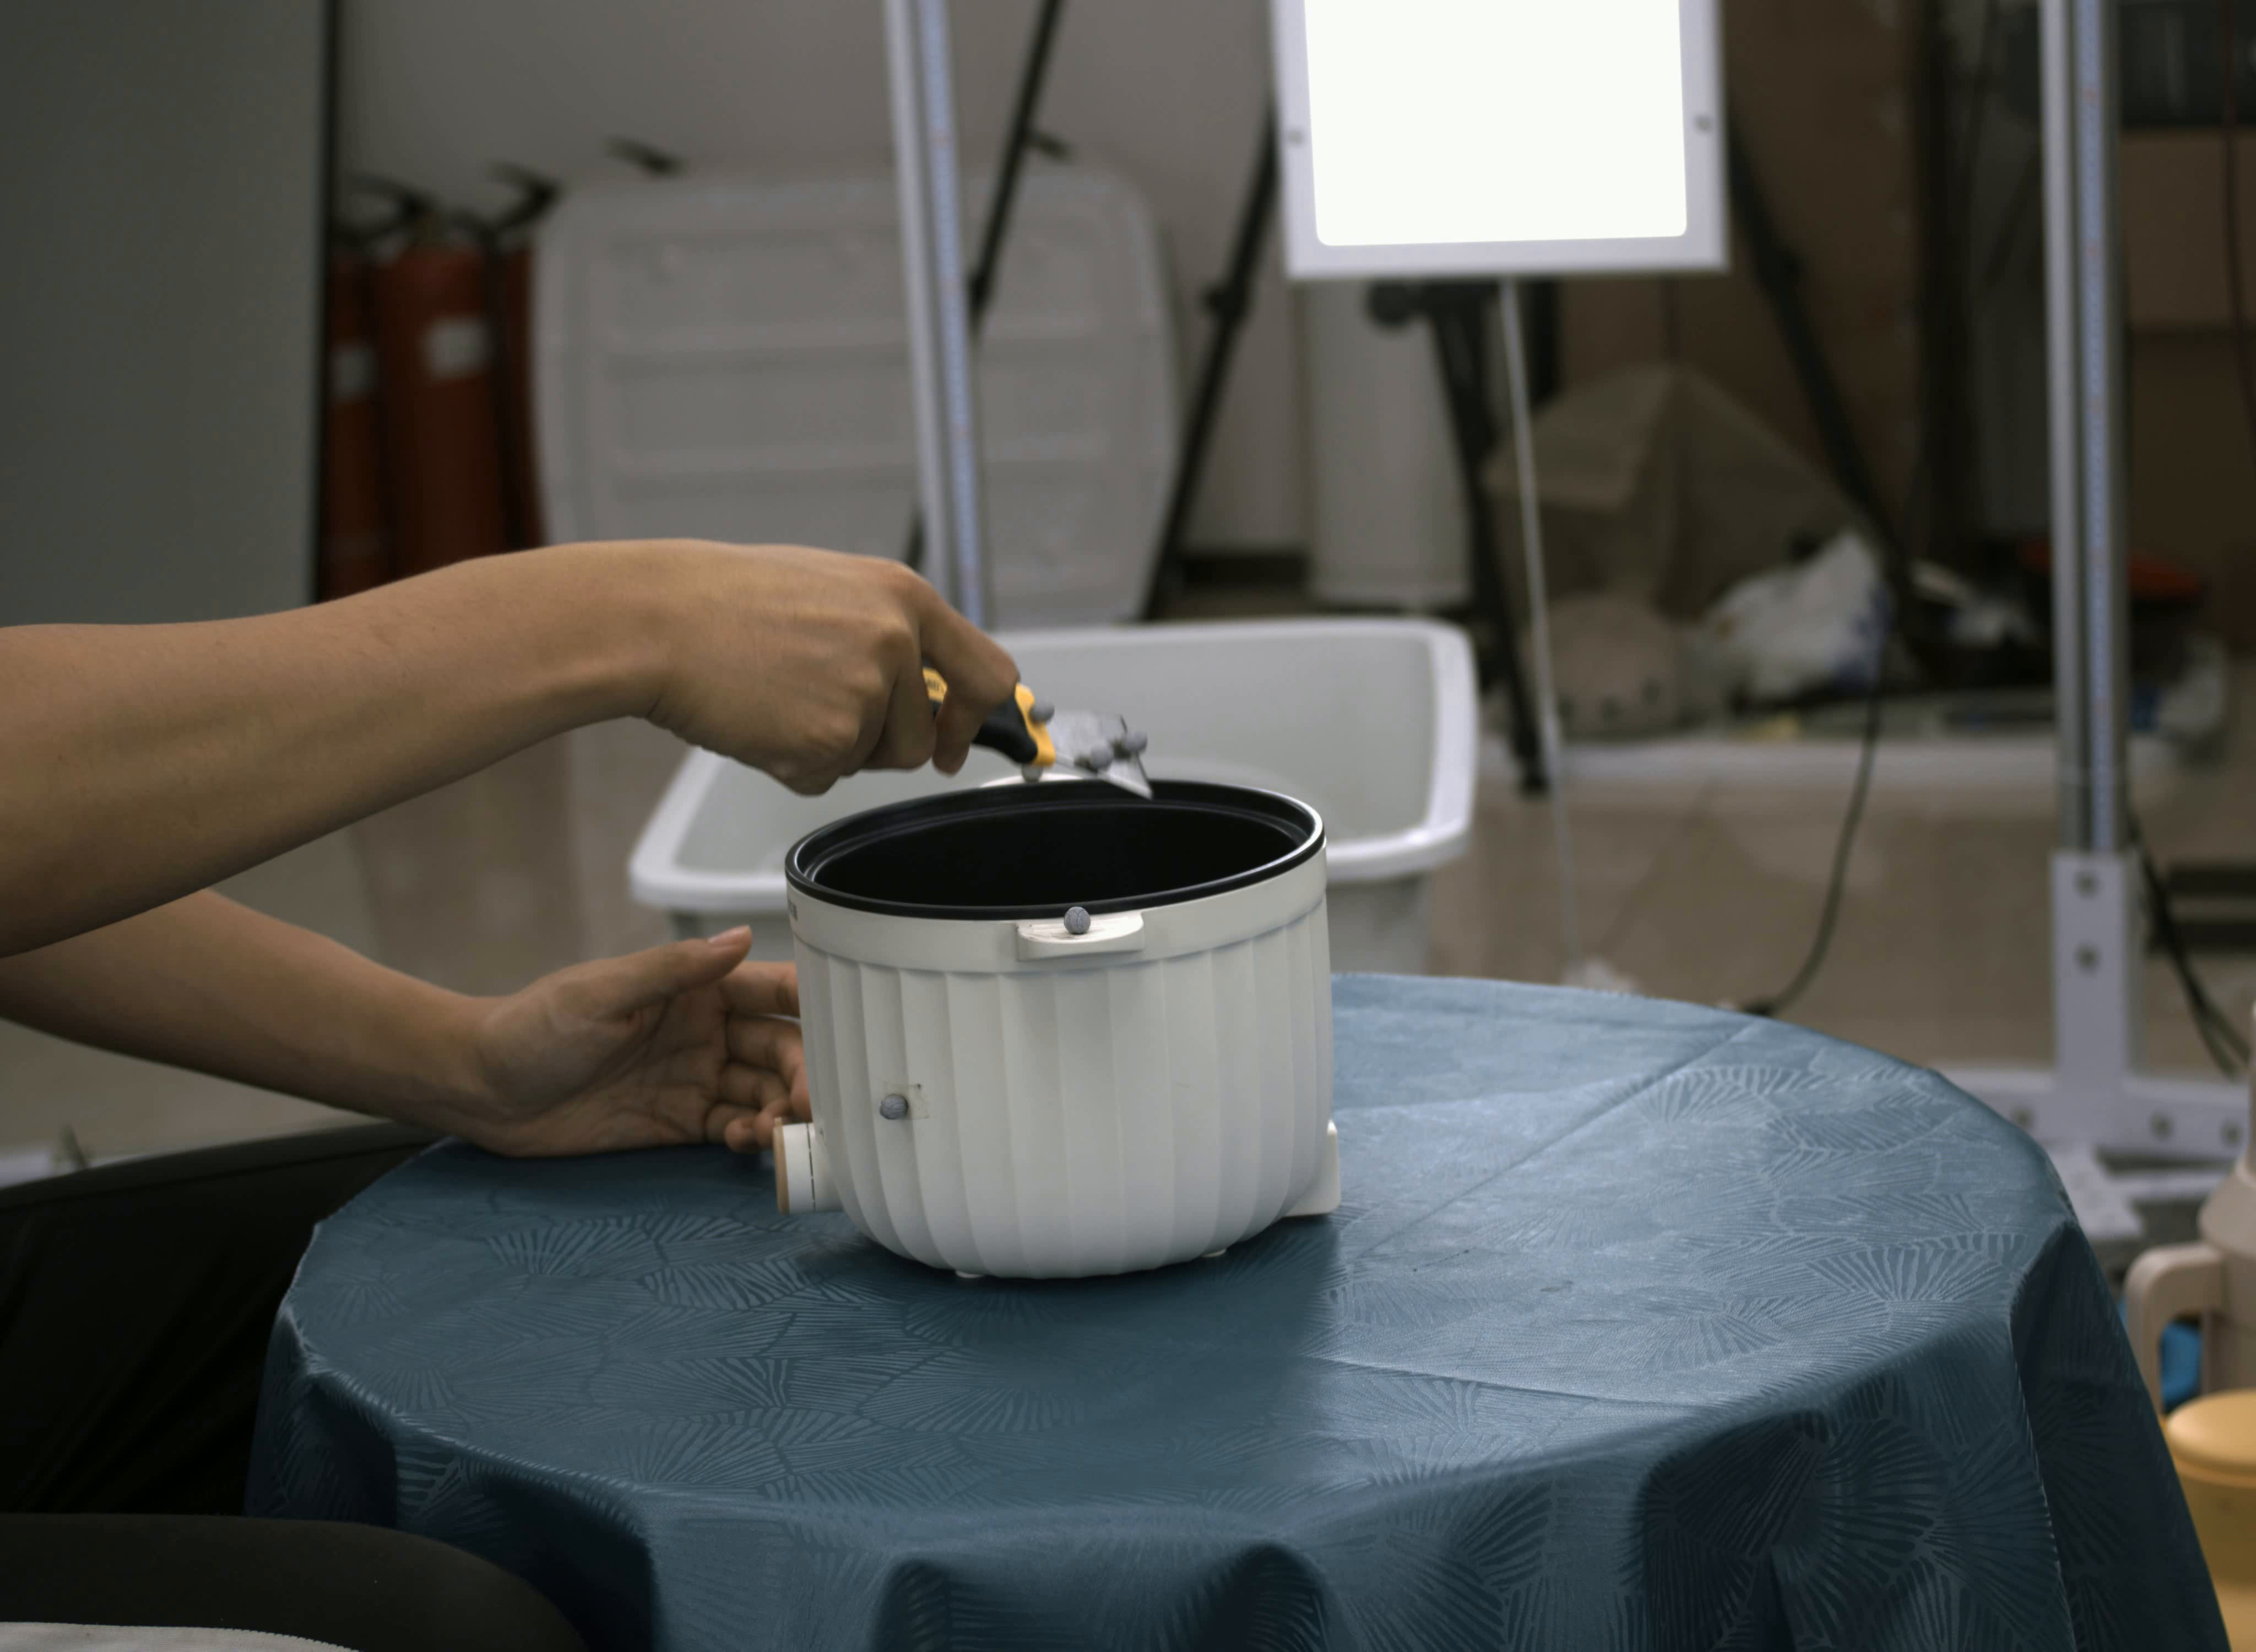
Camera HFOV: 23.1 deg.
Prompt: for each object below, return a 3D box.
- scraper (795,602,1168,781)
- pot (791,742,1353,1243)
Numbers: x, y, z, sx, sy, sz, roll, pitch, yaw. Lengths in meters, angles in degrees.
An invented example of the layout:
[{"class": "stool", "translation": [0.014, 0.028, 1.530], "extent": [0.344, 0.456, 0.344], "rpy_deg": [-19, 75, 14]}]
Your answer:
[{"class": "scraper", "translation": [-0.046, -0.044, 1.798], "extent": [0.015, 0.039, 0.167], "rpy_deg": [-35, -32, 32]}, {"class": "pot", "translation": [-0.019, 0.059, 1.861], "extent": [0.189, 0.143, 0.241], "rpy_deg": [-2, 12, -5]}]
